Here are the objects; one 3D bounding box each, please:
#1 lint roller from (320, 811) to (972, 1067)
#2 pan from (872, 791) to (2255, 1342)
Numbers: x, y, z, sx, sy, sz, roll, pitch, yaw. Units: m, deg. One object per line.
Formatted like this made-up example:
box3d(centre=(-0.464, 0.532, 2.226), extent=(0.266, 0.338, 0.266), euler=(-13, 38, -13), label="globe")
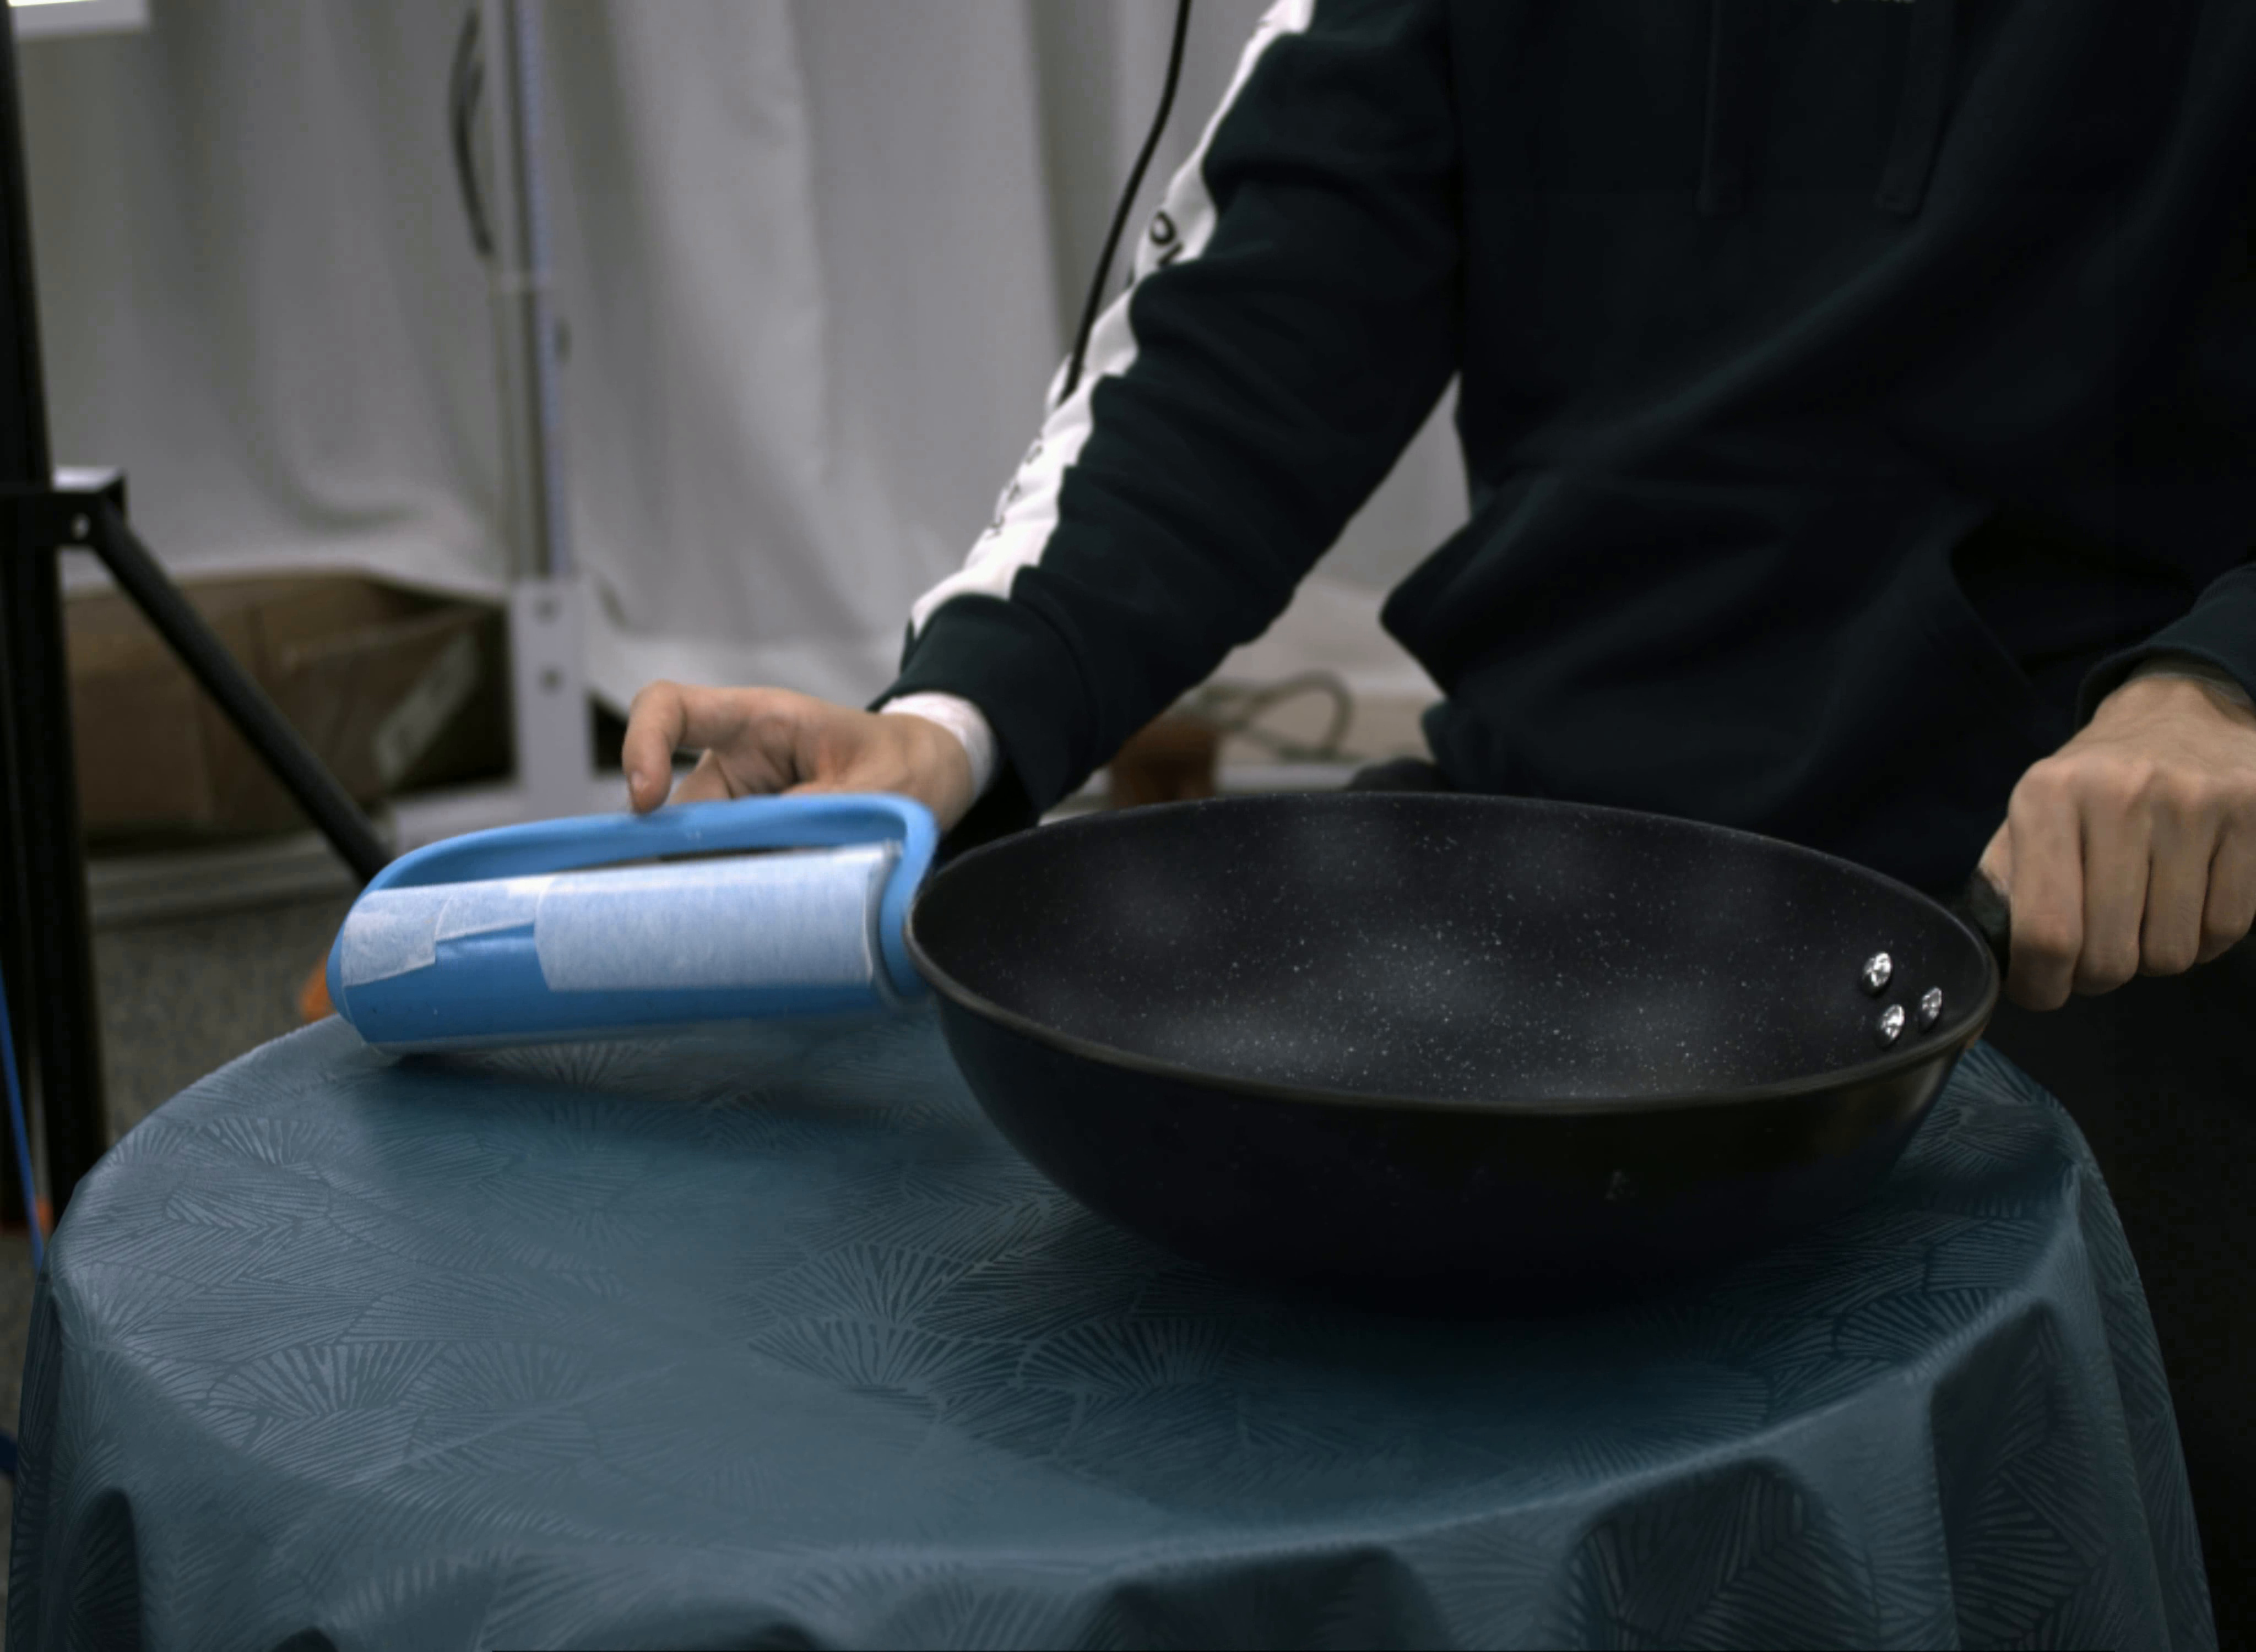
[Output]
box3d(centre=(-0.131, 0.027, 1.715), extent=(0.232, 0.068, 0.178), euler=(-6, 13, 24), label="lint roller")
box3d(centre=(0.161, 0.058, 1.514), extent=(0.469, 0.111, 0.315), euler=(-4, 18, -15), label="pan")
